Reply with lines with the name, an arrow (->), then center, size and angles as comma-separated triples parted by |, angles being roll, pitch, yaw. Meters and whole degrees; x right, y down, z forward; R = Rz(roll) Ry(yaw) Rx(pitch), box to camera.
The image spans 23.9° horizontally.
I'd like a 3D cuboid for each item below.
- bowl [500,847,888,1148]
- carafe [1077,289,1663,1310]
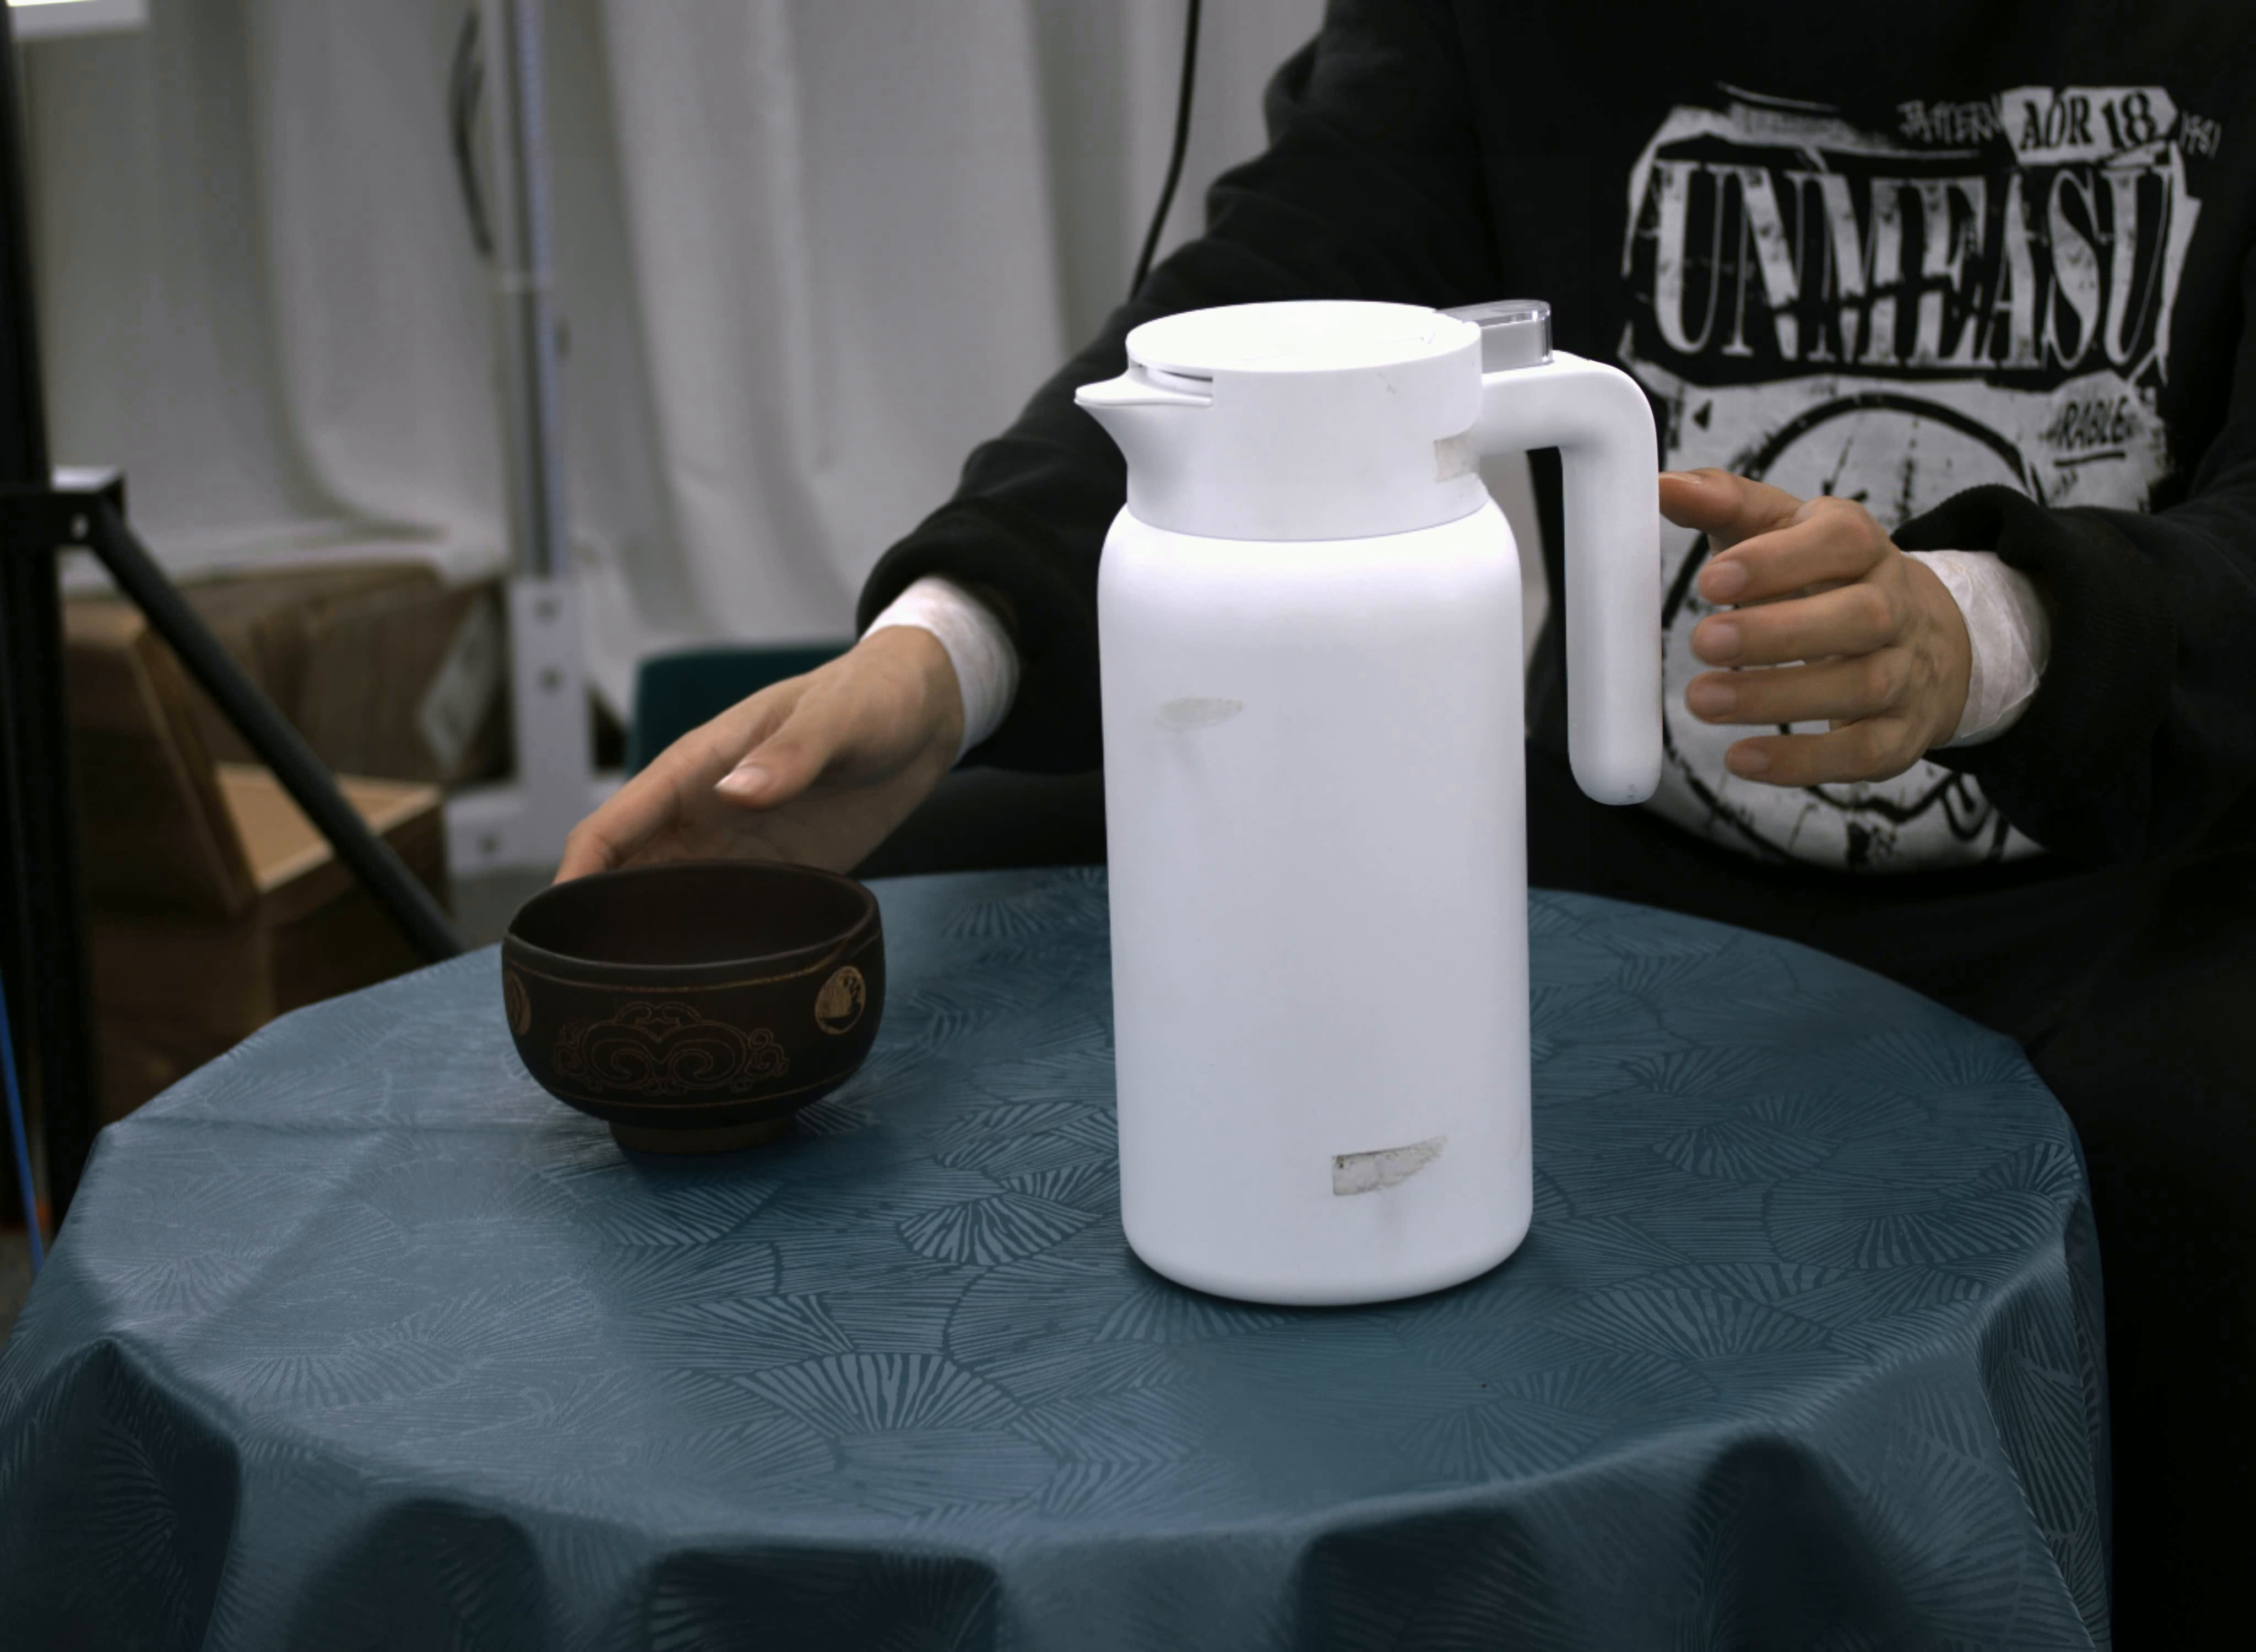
bowl -> -0.131, 0.056, 1.625 | 0.117, 0.070, 0.118 | -4, 17, 0
carafe -> 0.068, -0.011, 1.476 | 0.169, 0.269, 0.126 | -9, 15, -24
